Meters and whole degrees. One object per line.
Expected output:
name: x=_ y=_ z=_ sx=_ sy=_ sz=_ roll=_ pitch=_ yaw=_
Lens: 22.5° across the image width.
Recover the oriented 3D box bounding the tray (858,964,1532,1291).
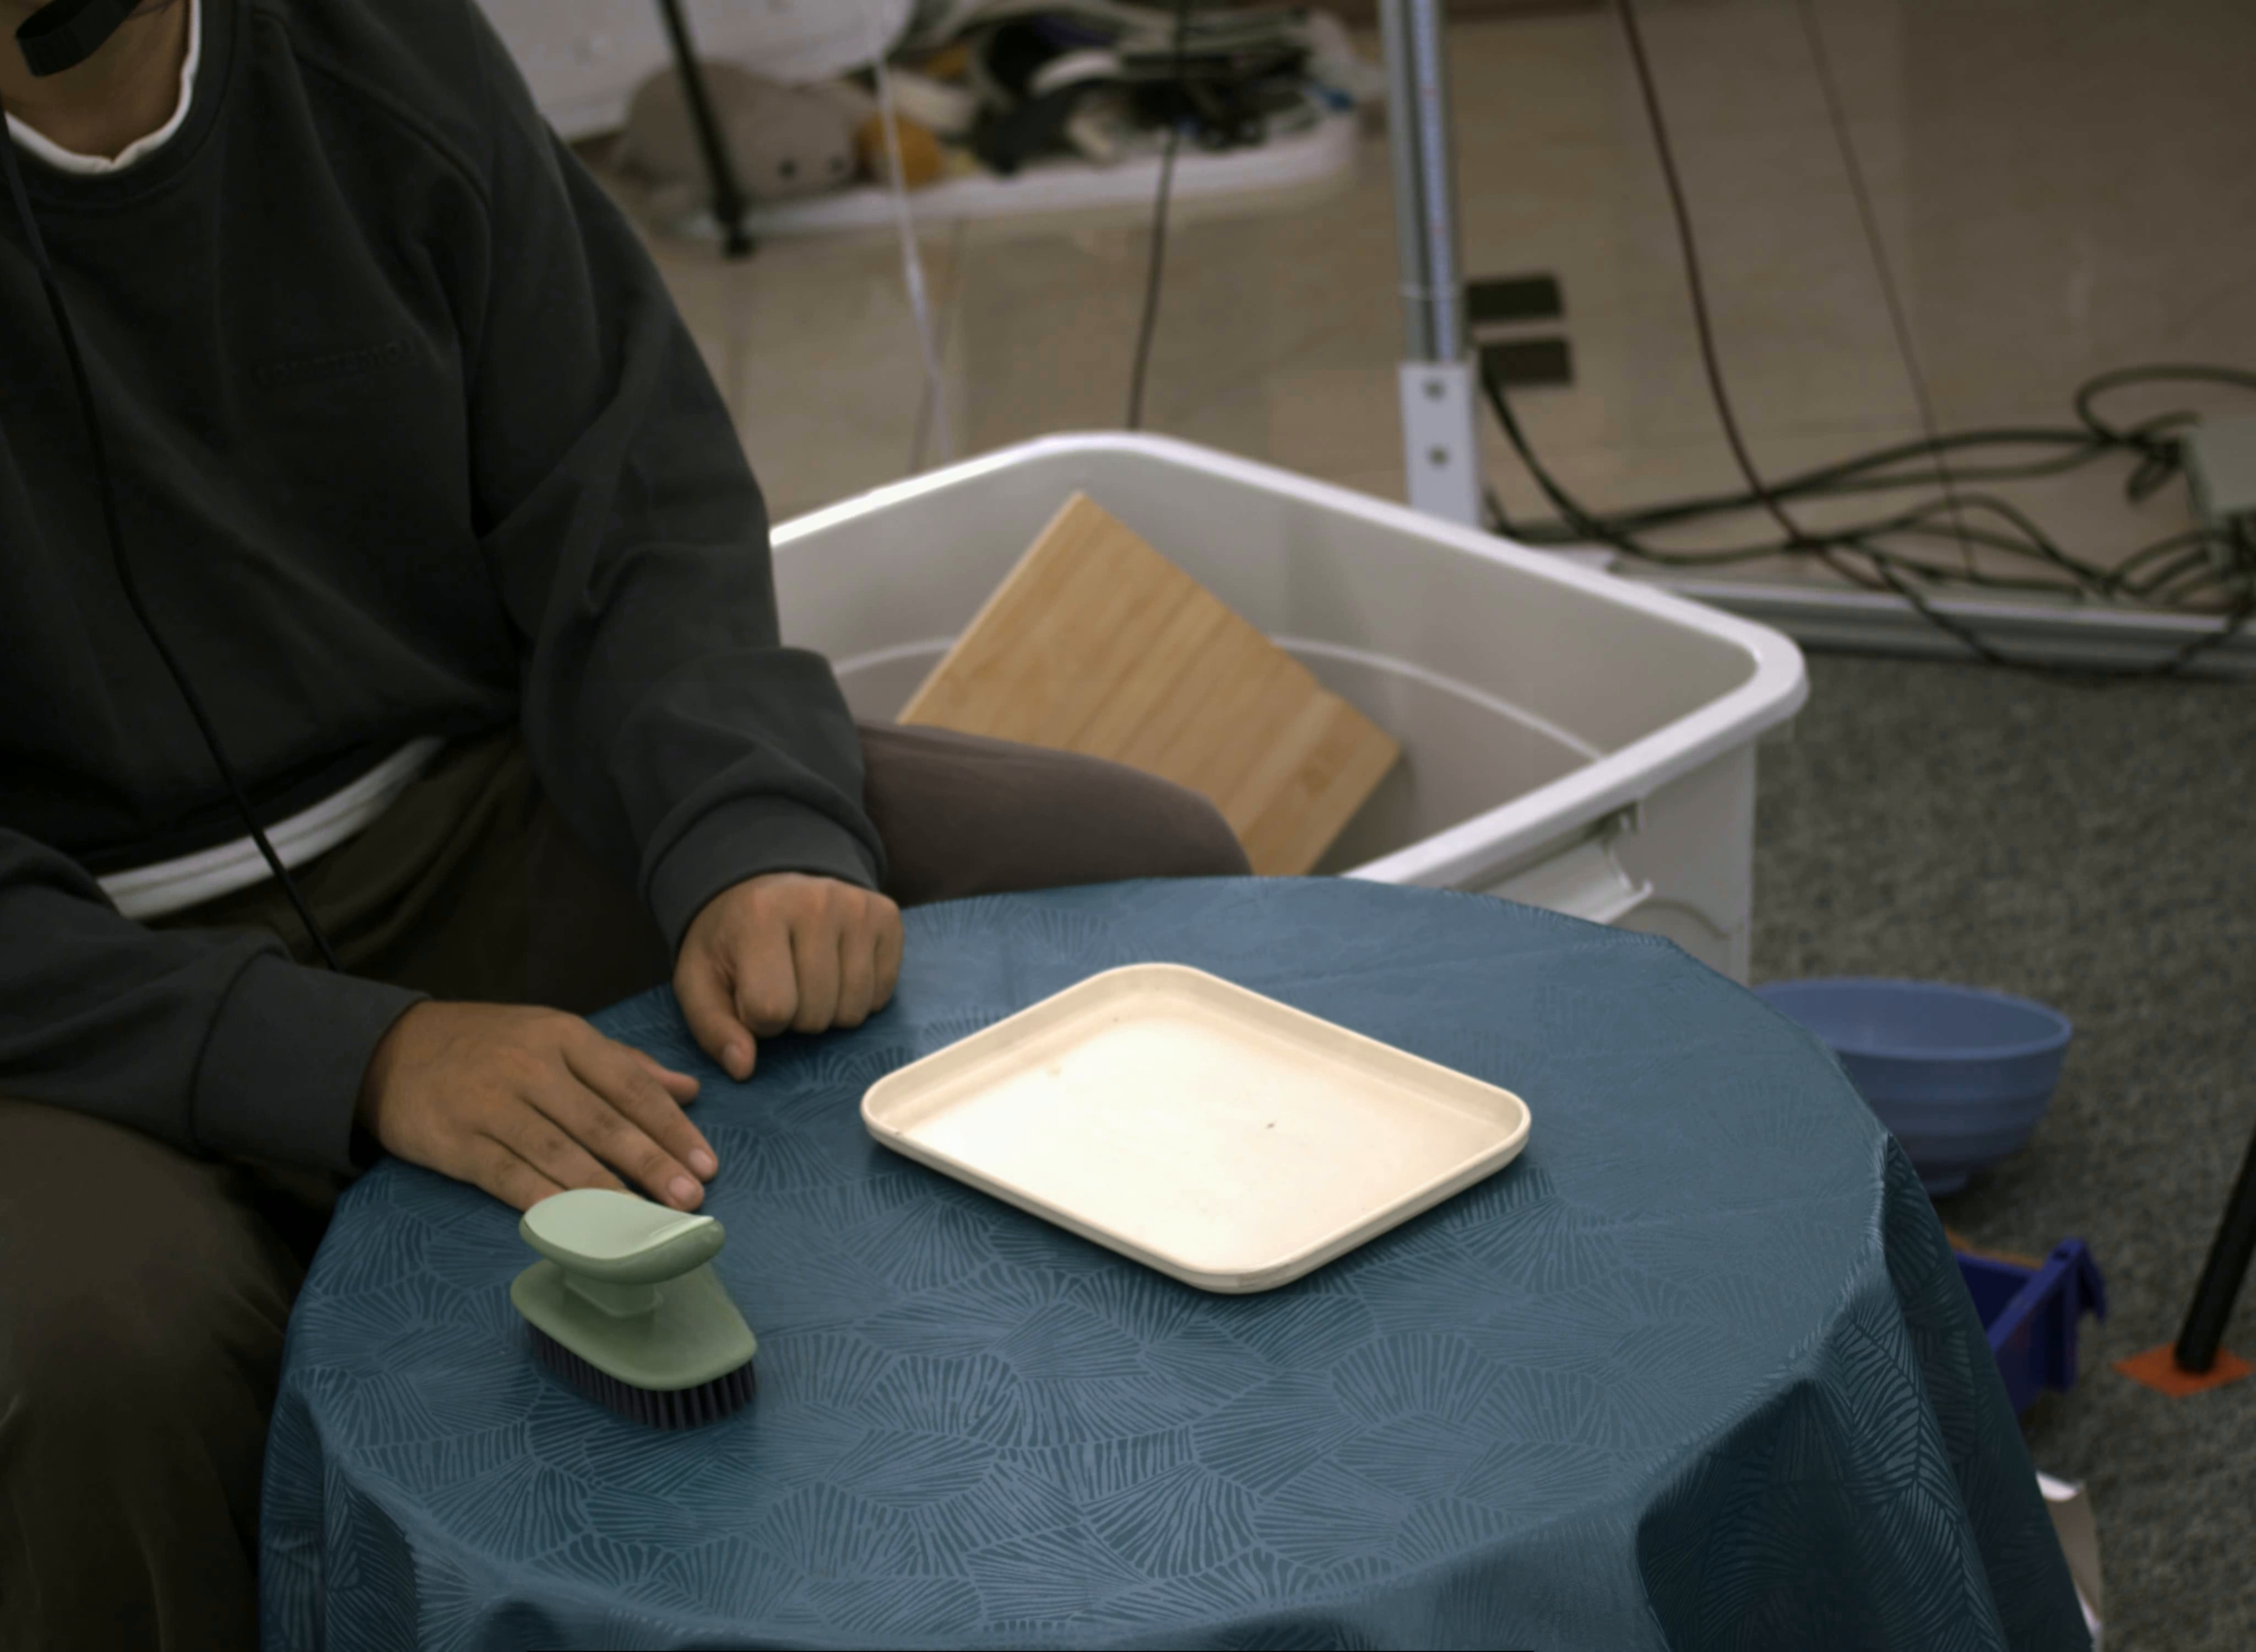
tray: x=0.024 y=0.115 z=2.173 sx=0.170 sy=0.018 sz=0.237 roll=-24 pitch=30 yaw=-35

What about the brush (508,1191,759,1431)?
brush: x=-0.179 y=0.173 z=2.054 sx=0.059 sy=0.076 sz=0.122 roll=-22 pitch=15 yaw=-31
